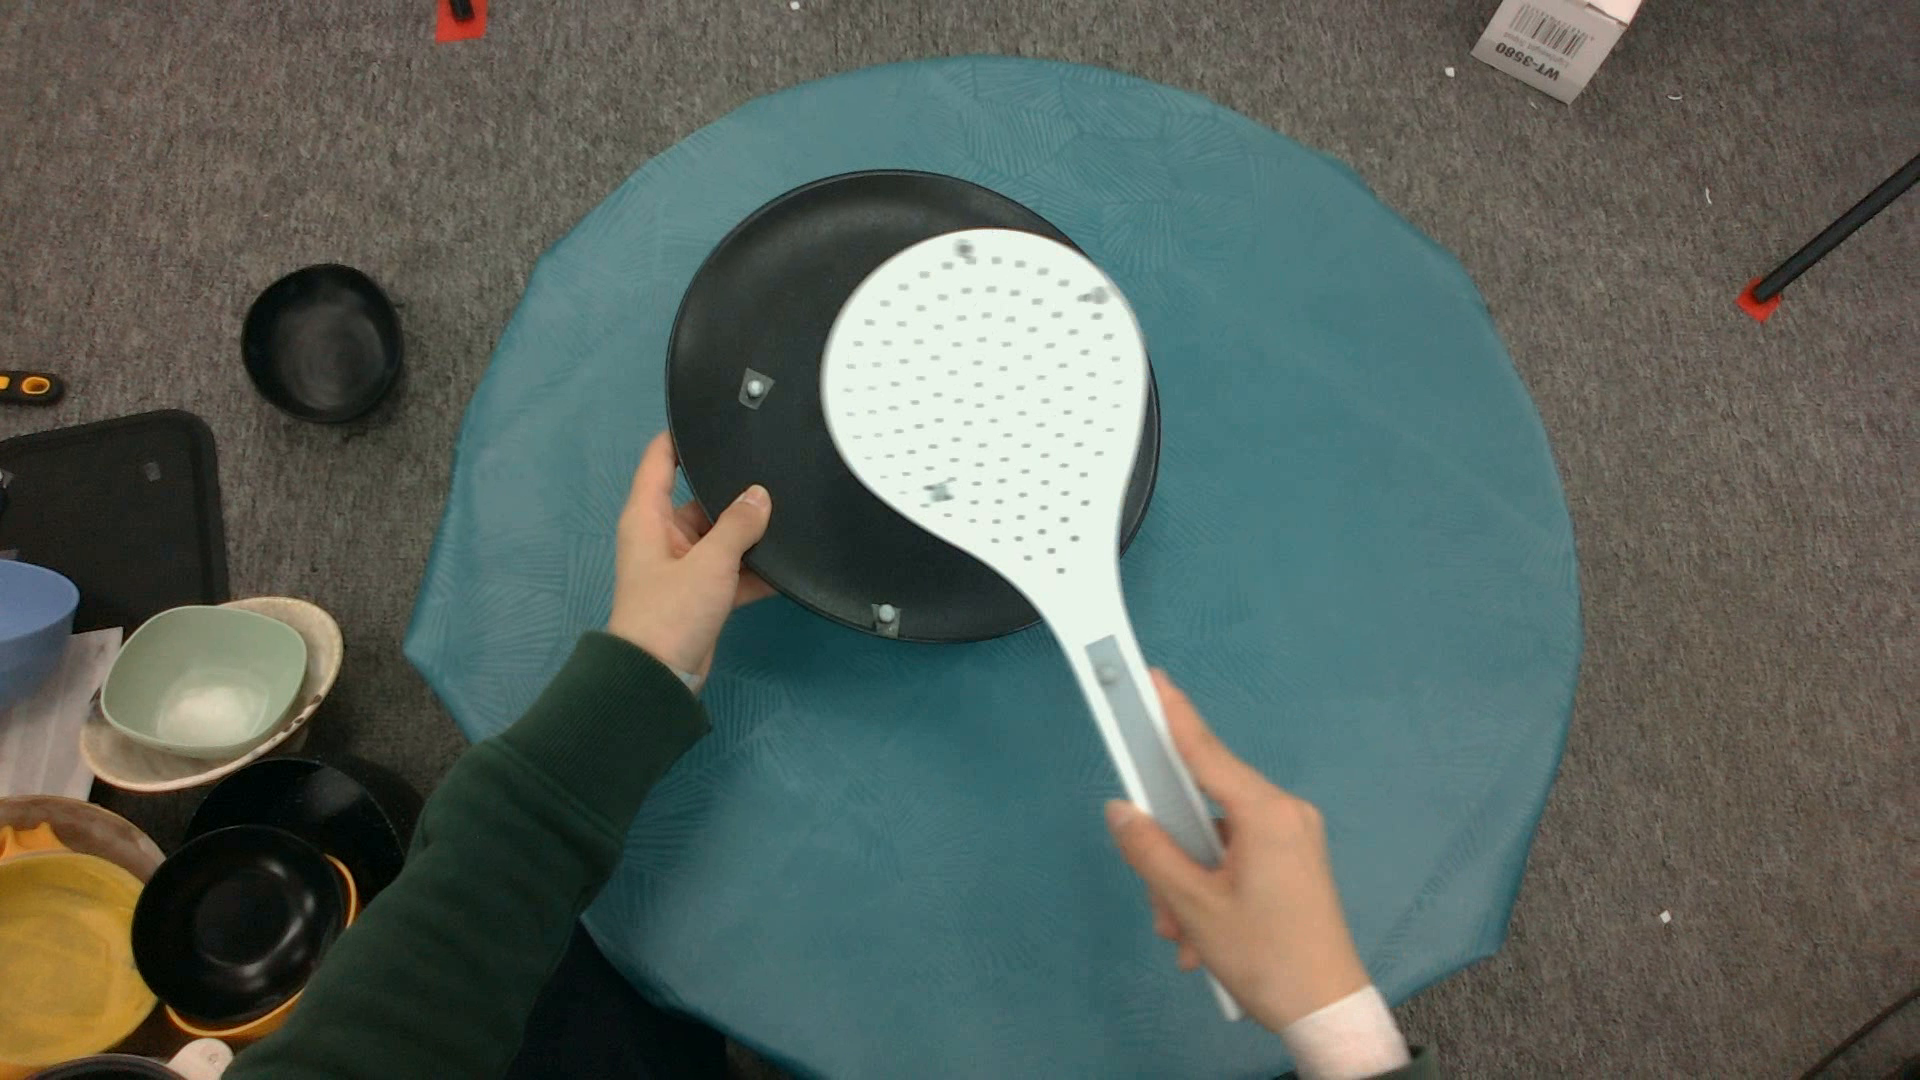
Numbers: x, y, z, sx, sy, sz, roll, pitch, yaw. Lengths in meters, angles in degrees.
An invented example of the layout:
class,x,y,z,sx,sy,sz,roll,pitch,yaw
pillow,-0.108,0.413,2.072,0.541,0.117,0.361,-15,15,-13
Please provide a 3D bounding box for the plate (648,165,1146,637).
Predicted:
class,x,y,z,sx,sy,sz,roll,pitch,yaw
plate,-0.027,-0.070,0.666,0.244,0.023,0.245,5,71,-15

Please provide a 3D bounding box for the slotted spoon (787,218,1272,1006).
class,x,y,z,sx,sy,sz,roll,pitch,yaw
slotted spoon,0.040,0.023,0.573,0.136,0.045,0.350,-23,74,-11
